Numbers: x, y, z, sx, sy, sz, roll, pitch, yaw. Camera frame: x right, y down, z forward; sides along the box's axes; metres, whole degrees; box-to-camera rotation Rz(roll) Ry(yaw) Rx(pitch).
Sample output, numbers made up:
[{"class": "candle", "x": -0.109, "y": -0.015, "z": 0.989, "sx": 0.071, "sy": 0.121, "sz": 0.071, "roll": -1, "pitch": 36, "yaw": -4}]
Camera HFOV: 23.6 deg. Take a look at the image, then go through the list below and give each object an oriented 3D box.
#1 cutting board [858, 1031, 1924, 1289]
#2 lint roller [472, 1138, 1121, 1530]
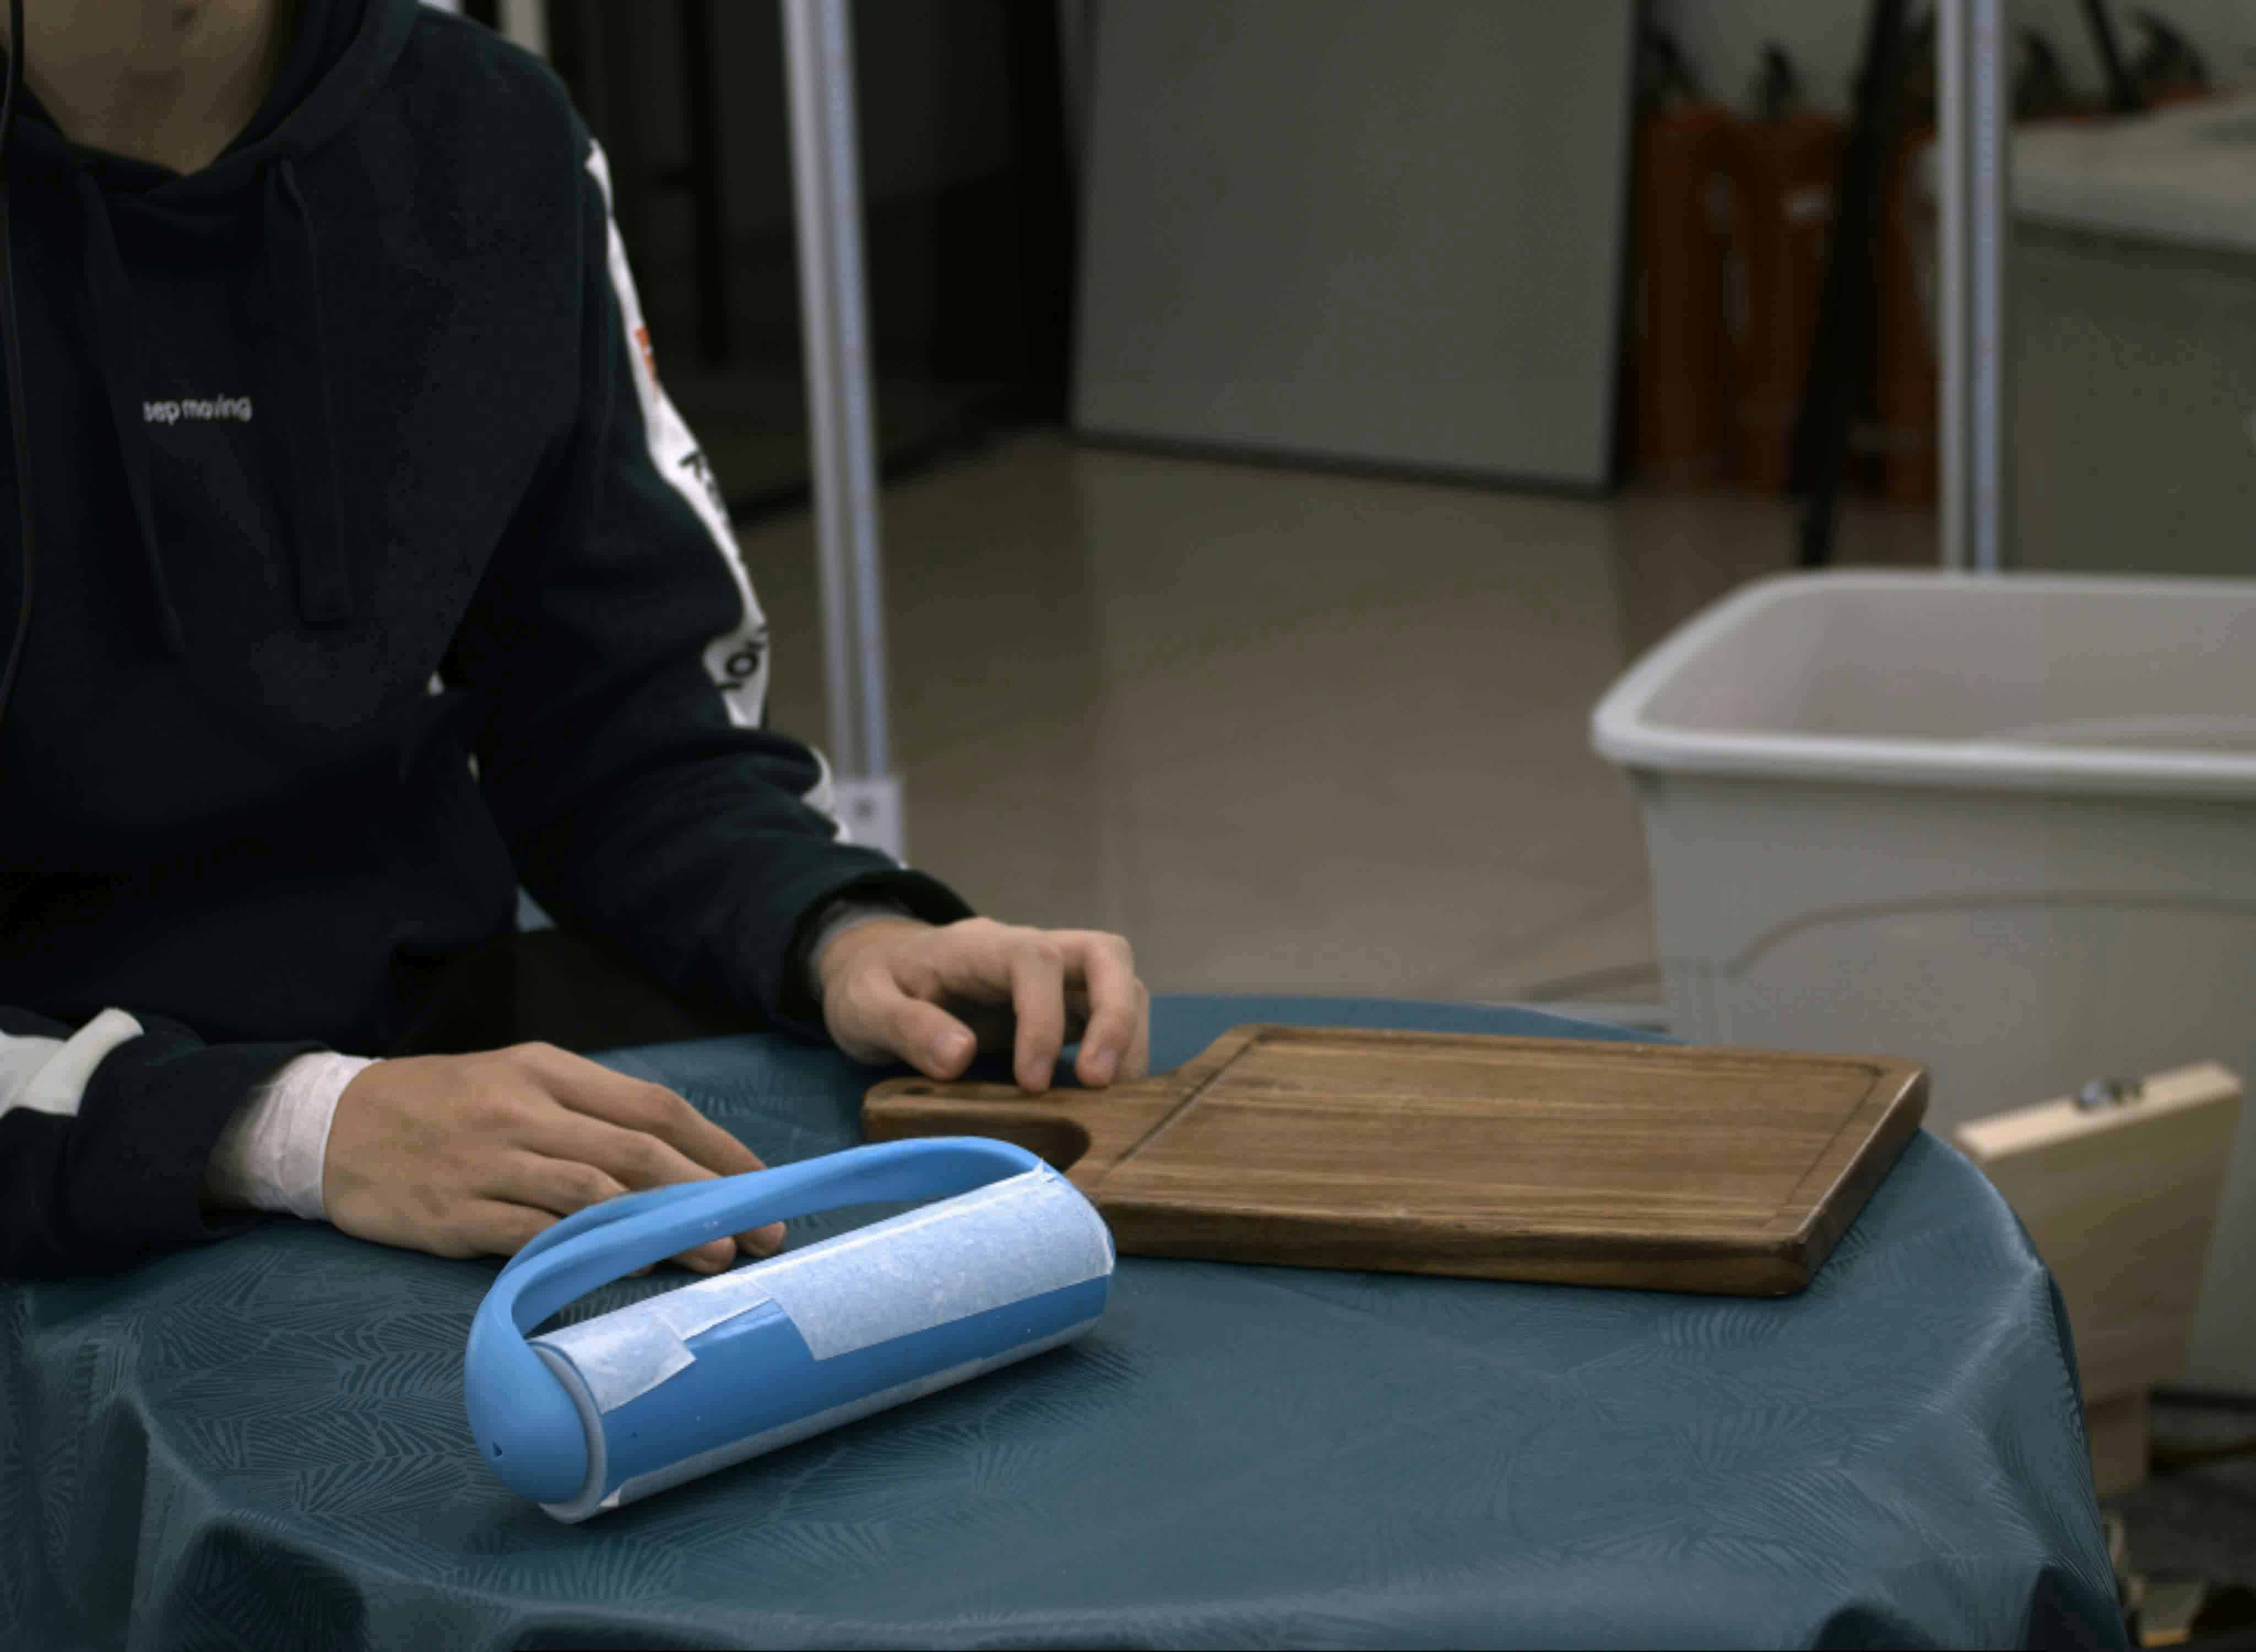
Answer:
[{"class": "cutting board", "x": 0.075, "y": 0.105, "z": 1.771, "sx": 0.352, "sy": 0.023, "sz": 0.199, "roll": 1, "pitch": 14, "yaw": 21}, {"class": "lint roller", "x": -0.132, "y": 0.141, "z": 1.612, "sx": 0.224, "sy": 0.068, "sz": 0.182, "roll": -19, "pitch": 21, "yaw": -41}]
